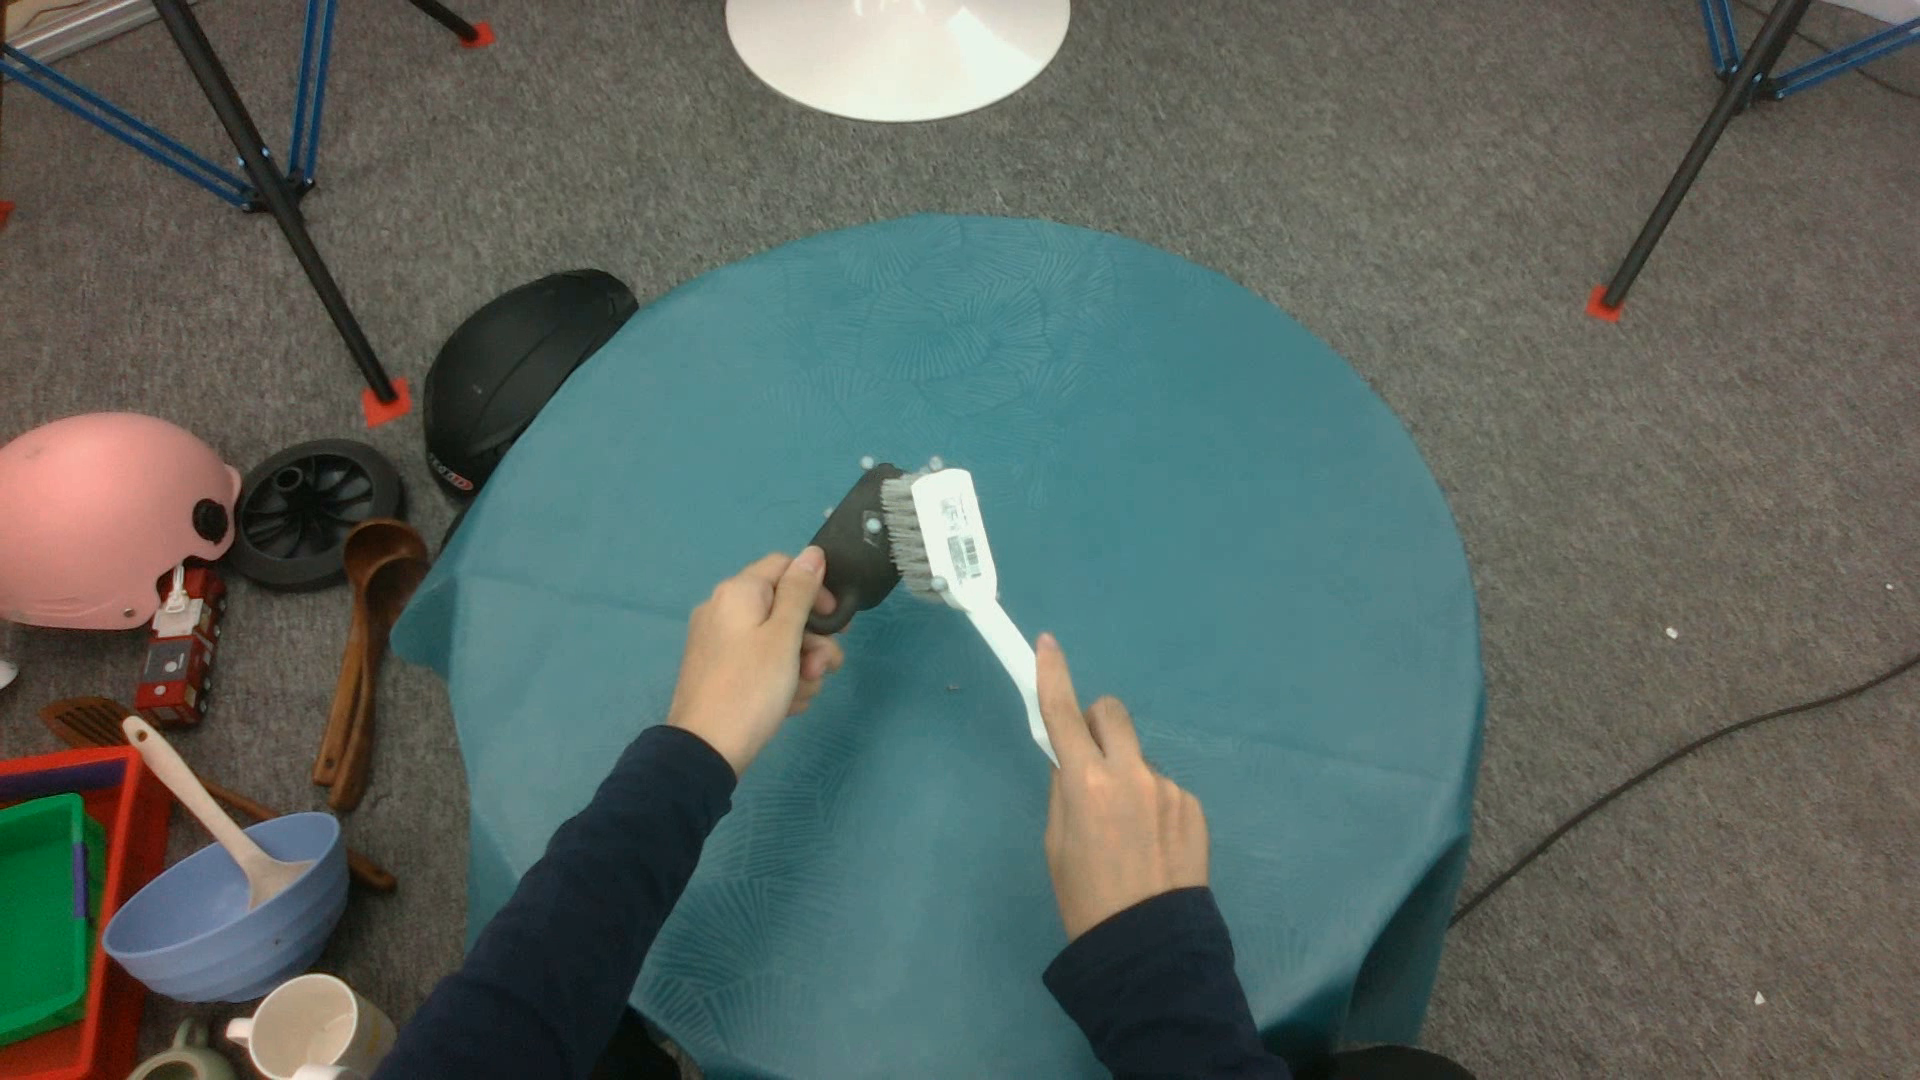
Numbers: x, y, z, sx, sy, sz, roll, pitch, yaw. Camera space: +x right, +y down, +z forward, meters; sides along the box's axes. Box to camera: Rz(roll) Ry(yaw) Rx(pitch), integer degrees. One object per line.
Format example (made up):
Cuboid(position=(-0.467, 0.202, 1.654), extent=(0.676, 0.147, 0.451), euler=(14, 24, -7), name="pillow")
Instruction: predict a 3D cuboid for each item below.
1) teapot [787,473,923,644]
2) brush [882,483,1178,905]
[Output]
Cuboid(position=(-0.055, 0.011, 0.746), extent=(0.053, 0.082, 0.114), euler=(39, 52, -3), name="teapot")
Cuboid(position=(0.031, 0.077, 0.693), extent=(0.034, 0.050, 0.244), euler=(-20, 77, -49), name="brush")
